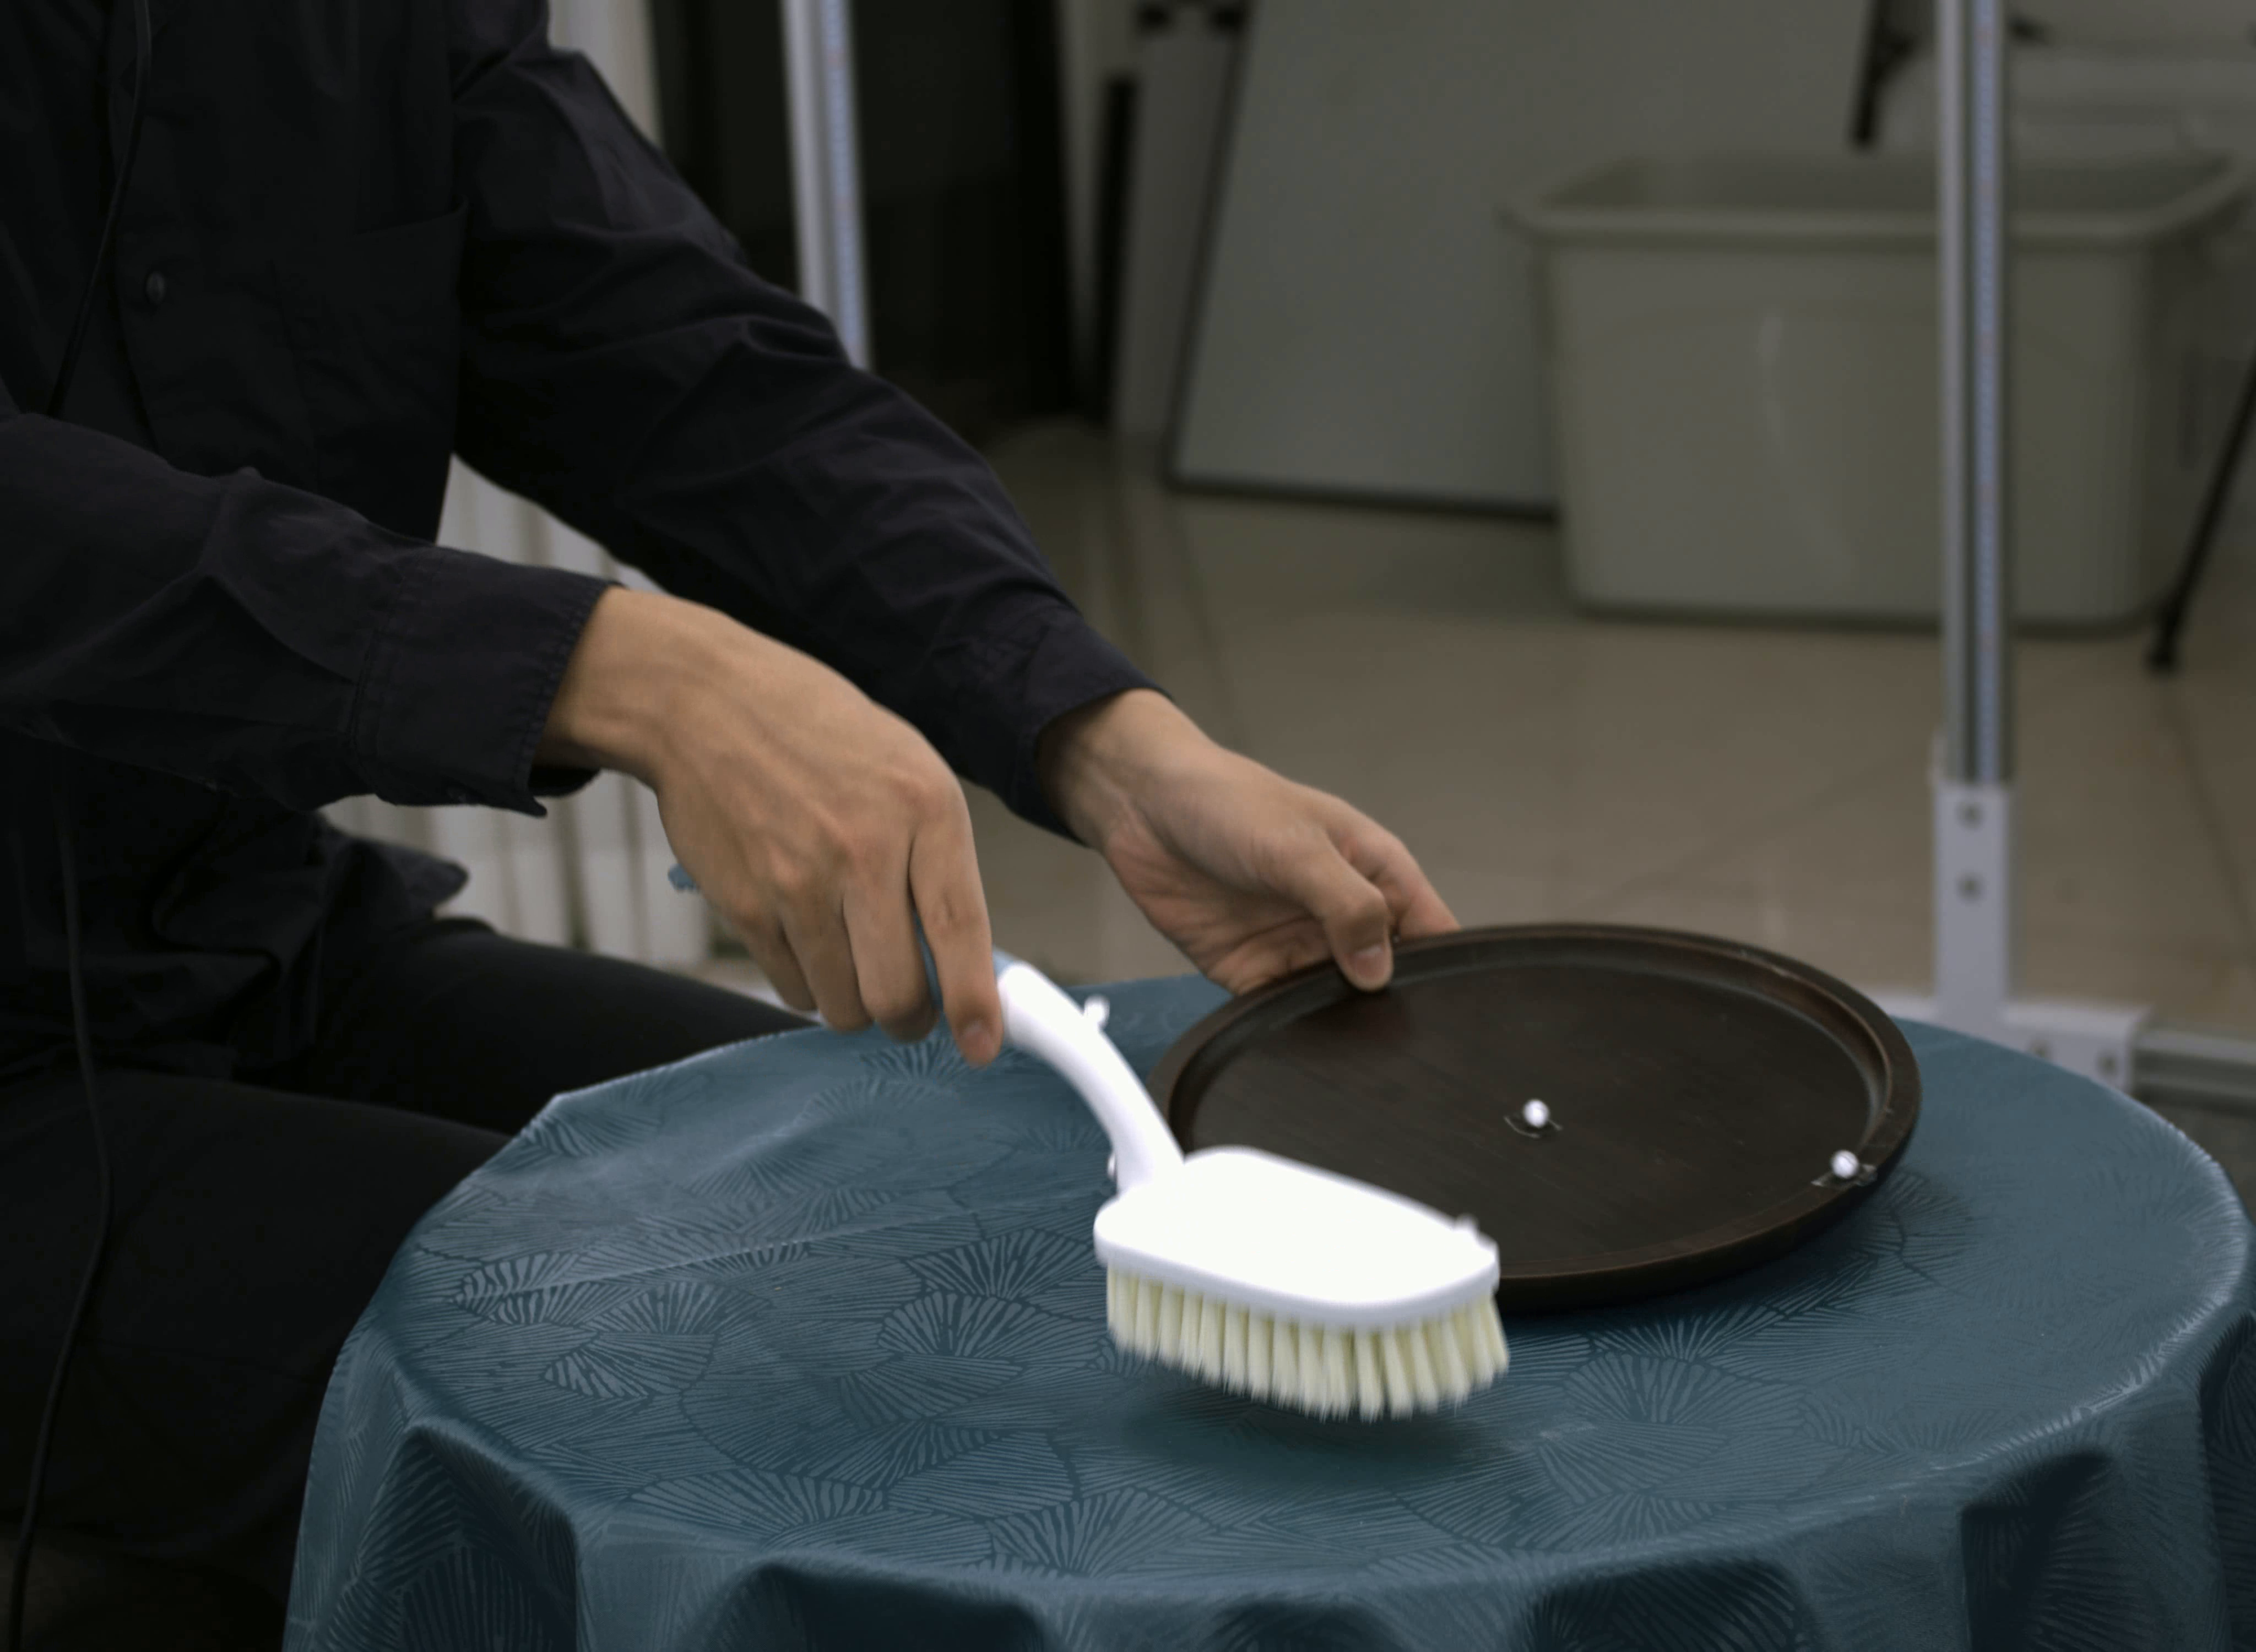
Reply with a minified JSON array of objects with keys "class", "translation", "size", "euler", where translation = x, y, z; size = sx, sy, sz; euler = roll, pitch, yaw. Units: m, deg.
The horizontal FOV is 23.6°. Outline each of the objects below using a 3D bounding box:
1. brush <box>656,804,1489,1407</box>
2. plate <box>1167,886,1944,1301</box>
[{"class":"brush","translation":[-0.022,0.094,1.610],"size":[0.328,0.085,0.082],"euler":[28,-2,34]},{"class":"plate","translation":[0.137,0.087,1.738],"size":[0.252,0.029,0.255],"euler":[-7,24,2]}]
